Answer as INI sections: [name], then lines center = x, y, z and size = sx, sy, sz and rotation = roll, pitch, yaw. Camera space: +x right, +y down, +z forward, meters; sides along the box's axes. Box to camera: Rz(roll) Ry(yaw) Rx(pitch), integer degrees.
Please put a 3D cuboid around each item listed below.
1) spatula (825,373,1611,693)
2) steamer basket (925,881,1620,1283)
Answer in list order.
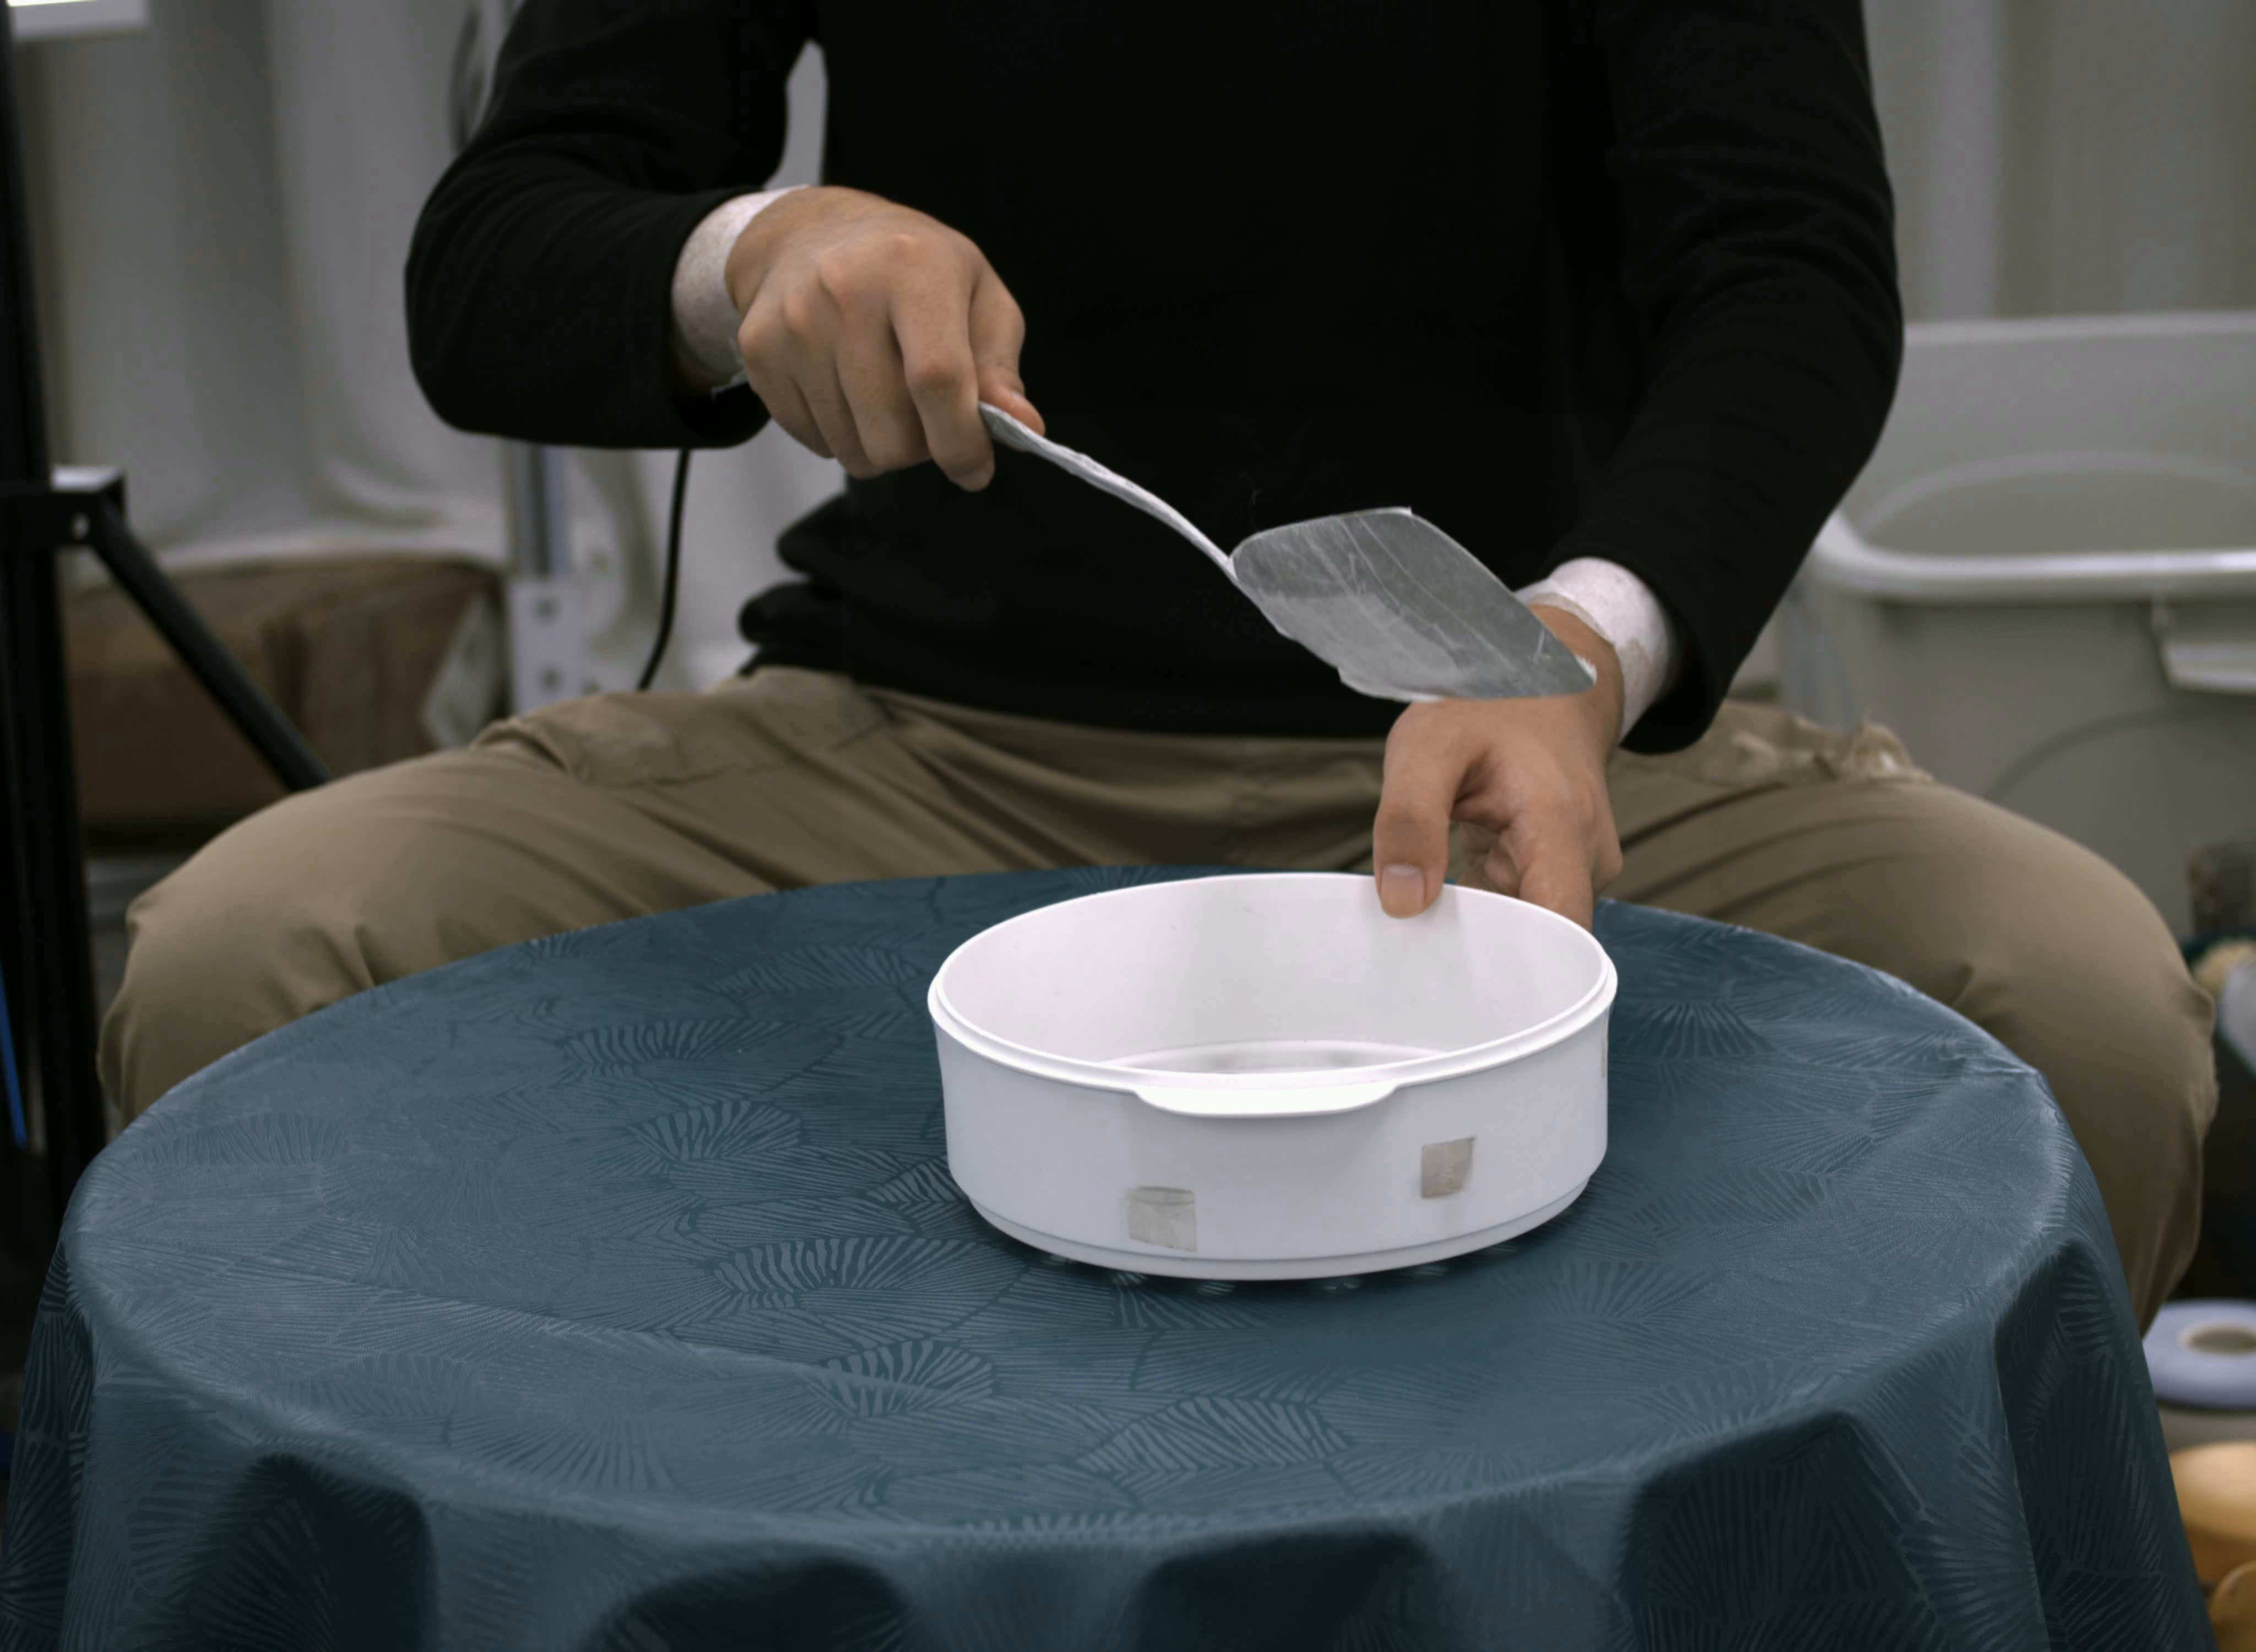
[spatula]
center = 0.006, -0.103, 1.614
size = 0.096, 0.045, 0.373
rotation = 39, -5, -37
[steamer basket]
center = 0.042, 0.074, 1.543
size = 0.202, 0.069, 0.231
rotation = 0, 15, 4
